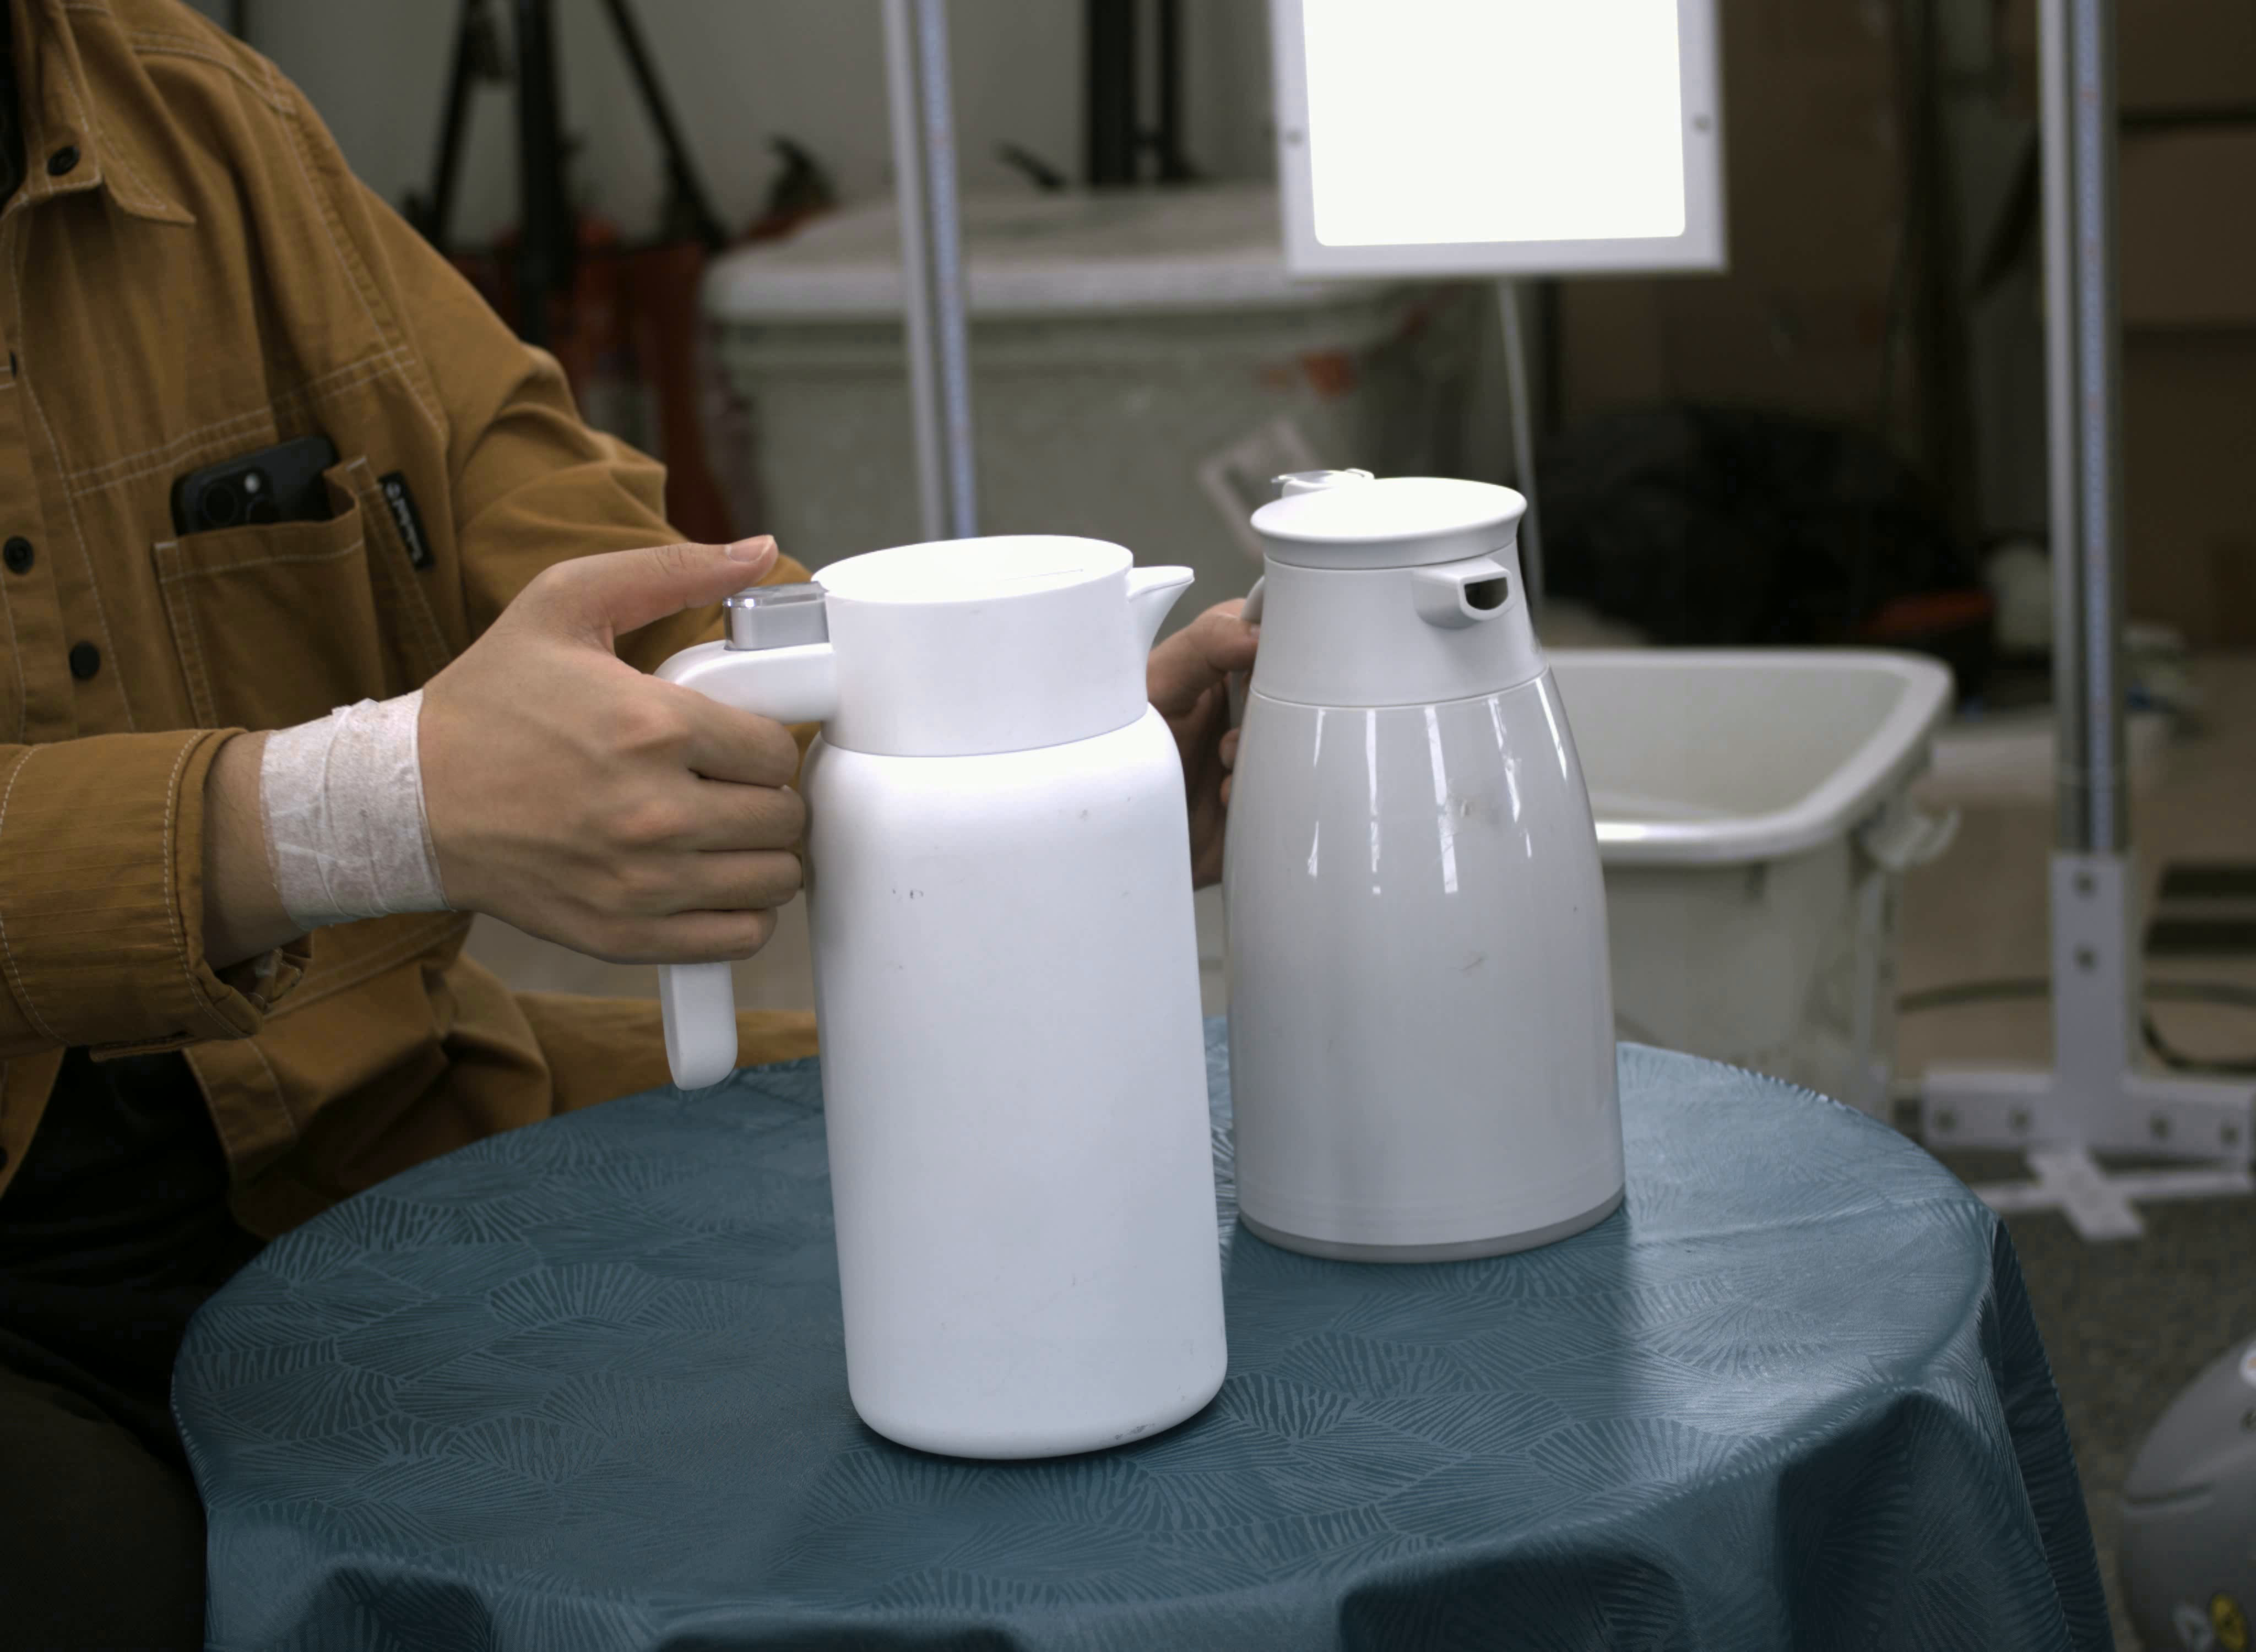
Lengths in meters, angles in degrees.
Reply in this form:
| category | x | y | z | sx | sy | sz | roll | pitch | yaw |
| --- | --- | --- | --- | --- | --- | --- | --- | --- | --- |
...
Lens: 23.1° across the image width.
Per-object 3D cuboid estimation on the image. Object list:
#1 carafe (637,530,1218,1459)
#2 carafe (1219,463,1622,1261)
| category | x | y | z | sx | sy | sz | roll | pitch | yaw |
| --- | --- | --- | --- | --- | --- | --- | --- | --- | --- |
| carafe | -0.054 | 0.052 | 1.661 | 0.171 | 0.270 | 0.125 | -7 | 16 | -11 |
| carafe | 0.083 | 0.004 | 1.845 | 0.130 | 0.249 | 0.170 | -11 | 14 | -25 |
